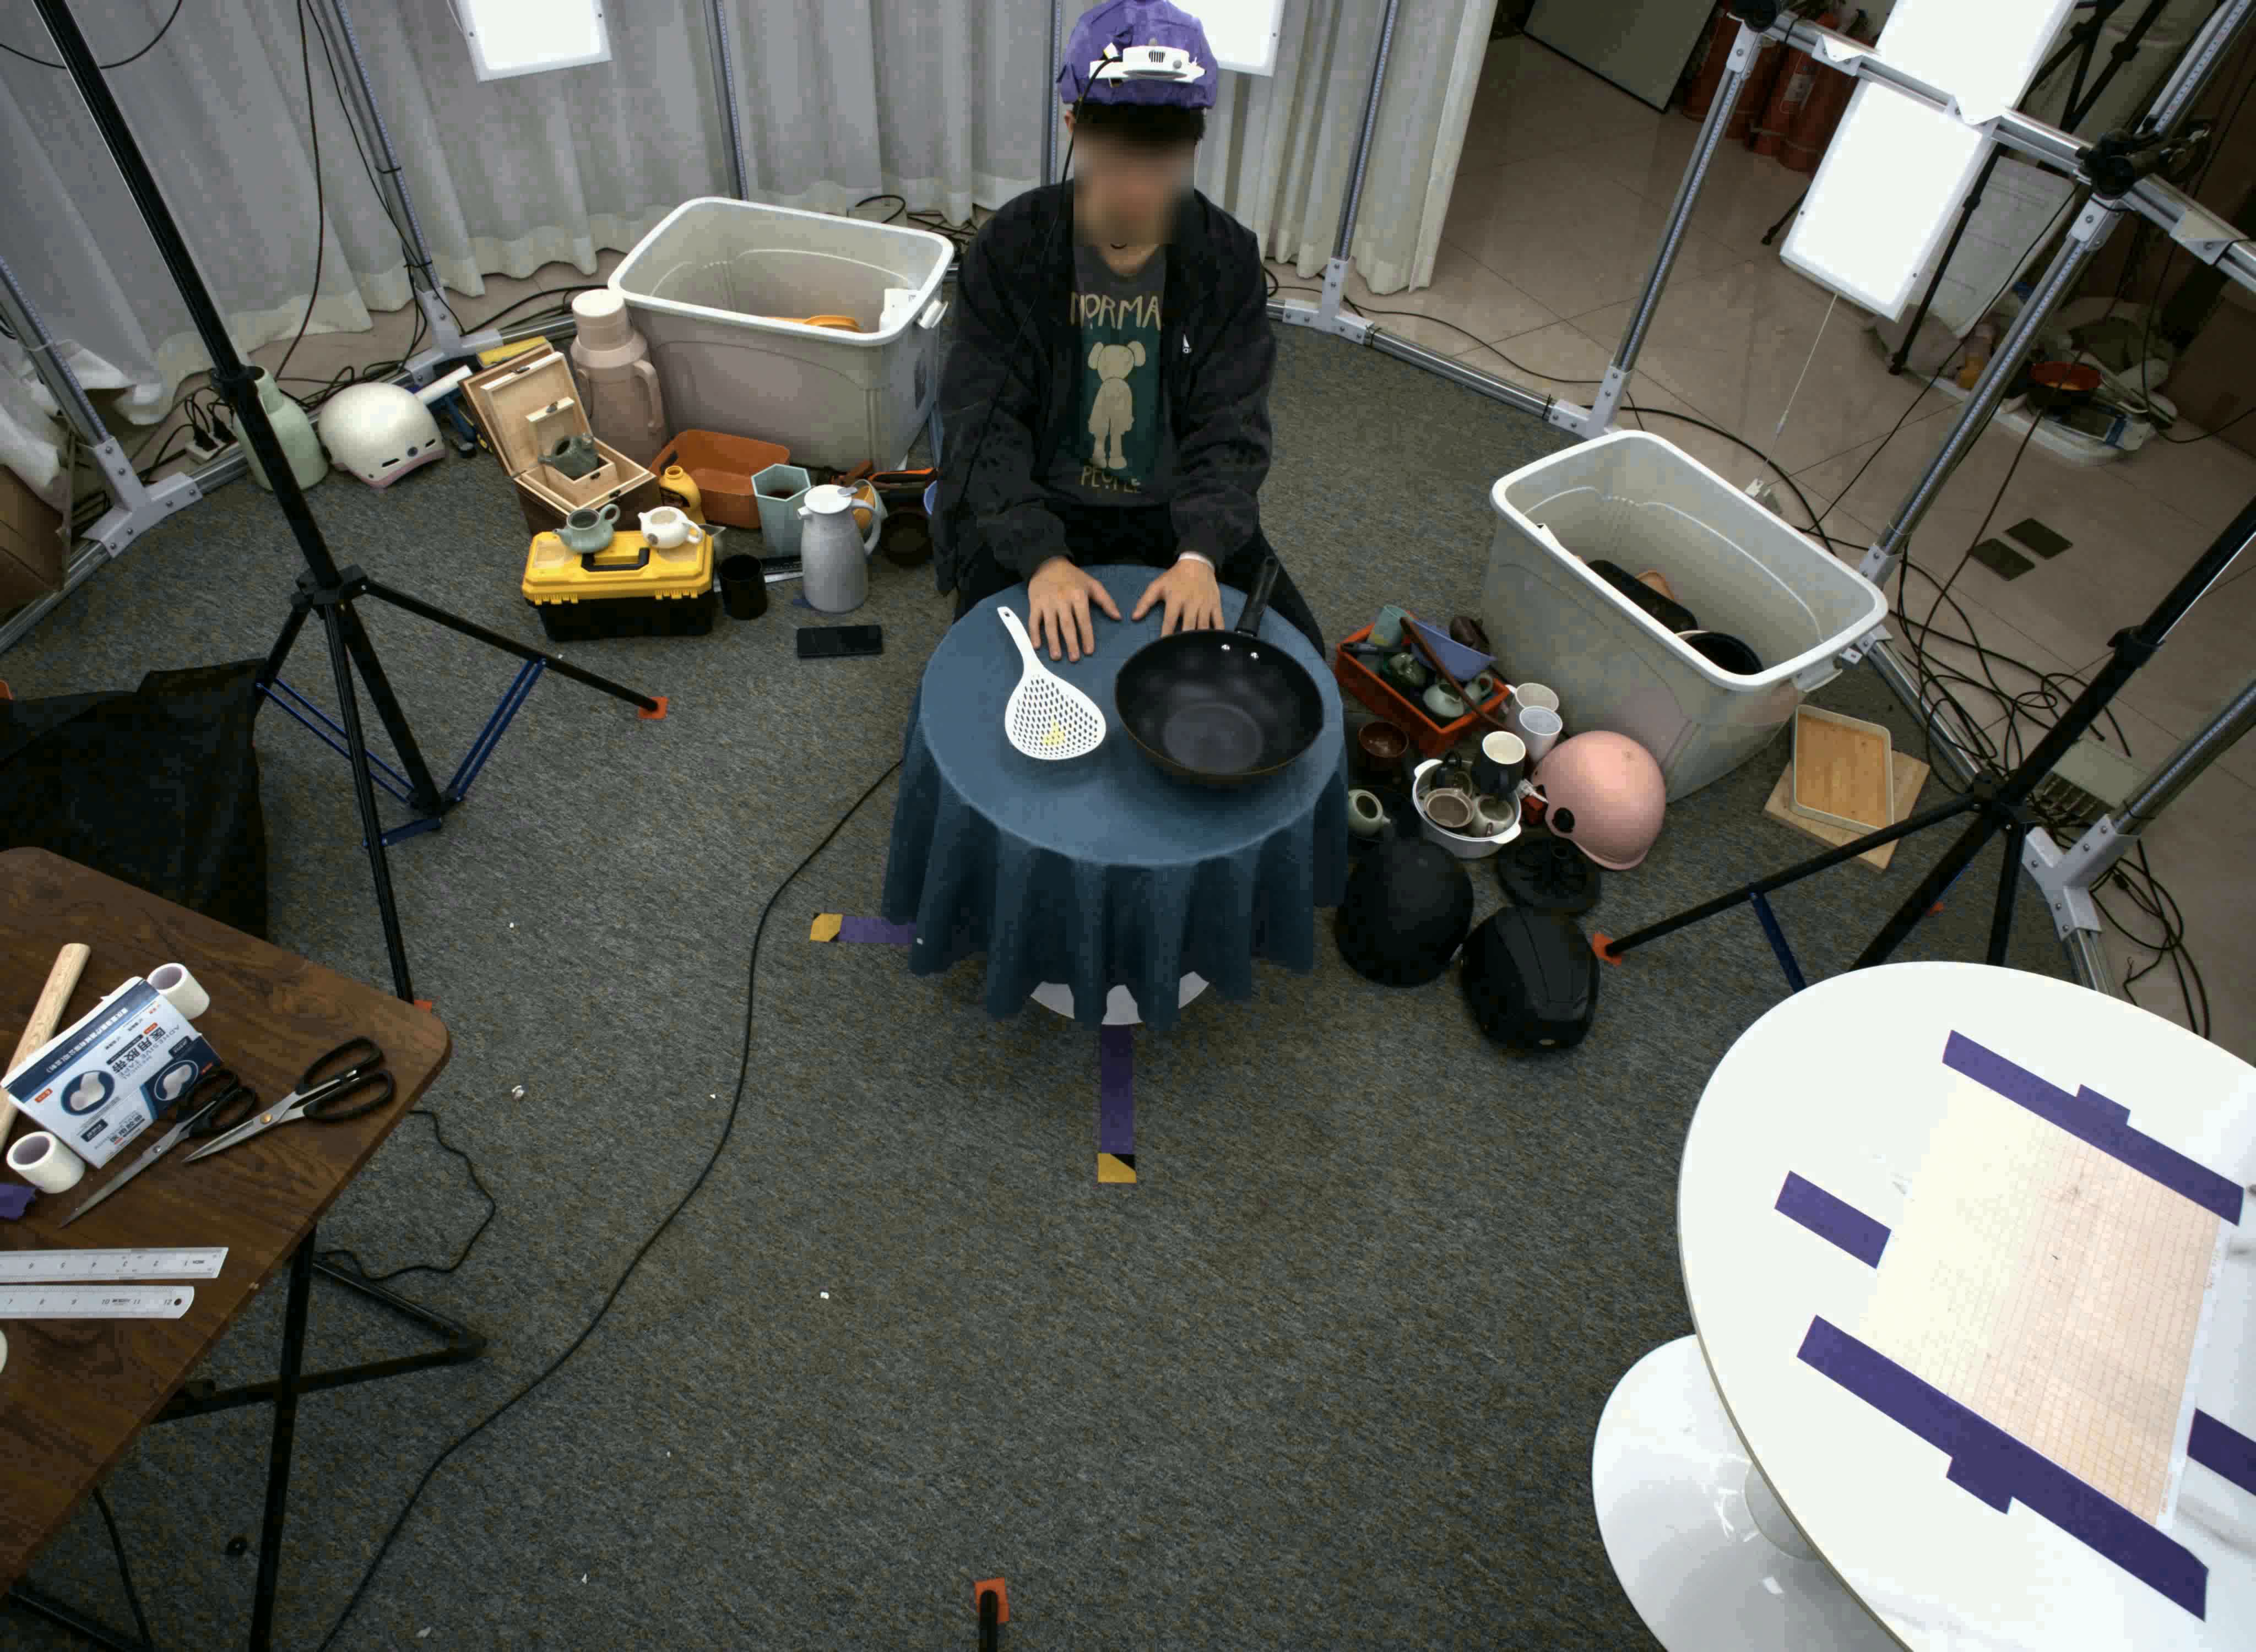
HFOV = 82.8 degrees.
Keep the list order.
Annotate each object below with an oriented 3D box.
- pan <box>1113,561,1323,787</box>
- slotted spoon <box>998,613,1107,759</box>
[{"bbox_3d":[0.145,-0.212,1.807,0.289,0.085,0.473,15,48,9],"label":"pan"},{"bbox_3d":[-0.130,-0.208,1.813,0.137,0.049,0.356,-12,50,-12],"label":"slotted spoon"}]
